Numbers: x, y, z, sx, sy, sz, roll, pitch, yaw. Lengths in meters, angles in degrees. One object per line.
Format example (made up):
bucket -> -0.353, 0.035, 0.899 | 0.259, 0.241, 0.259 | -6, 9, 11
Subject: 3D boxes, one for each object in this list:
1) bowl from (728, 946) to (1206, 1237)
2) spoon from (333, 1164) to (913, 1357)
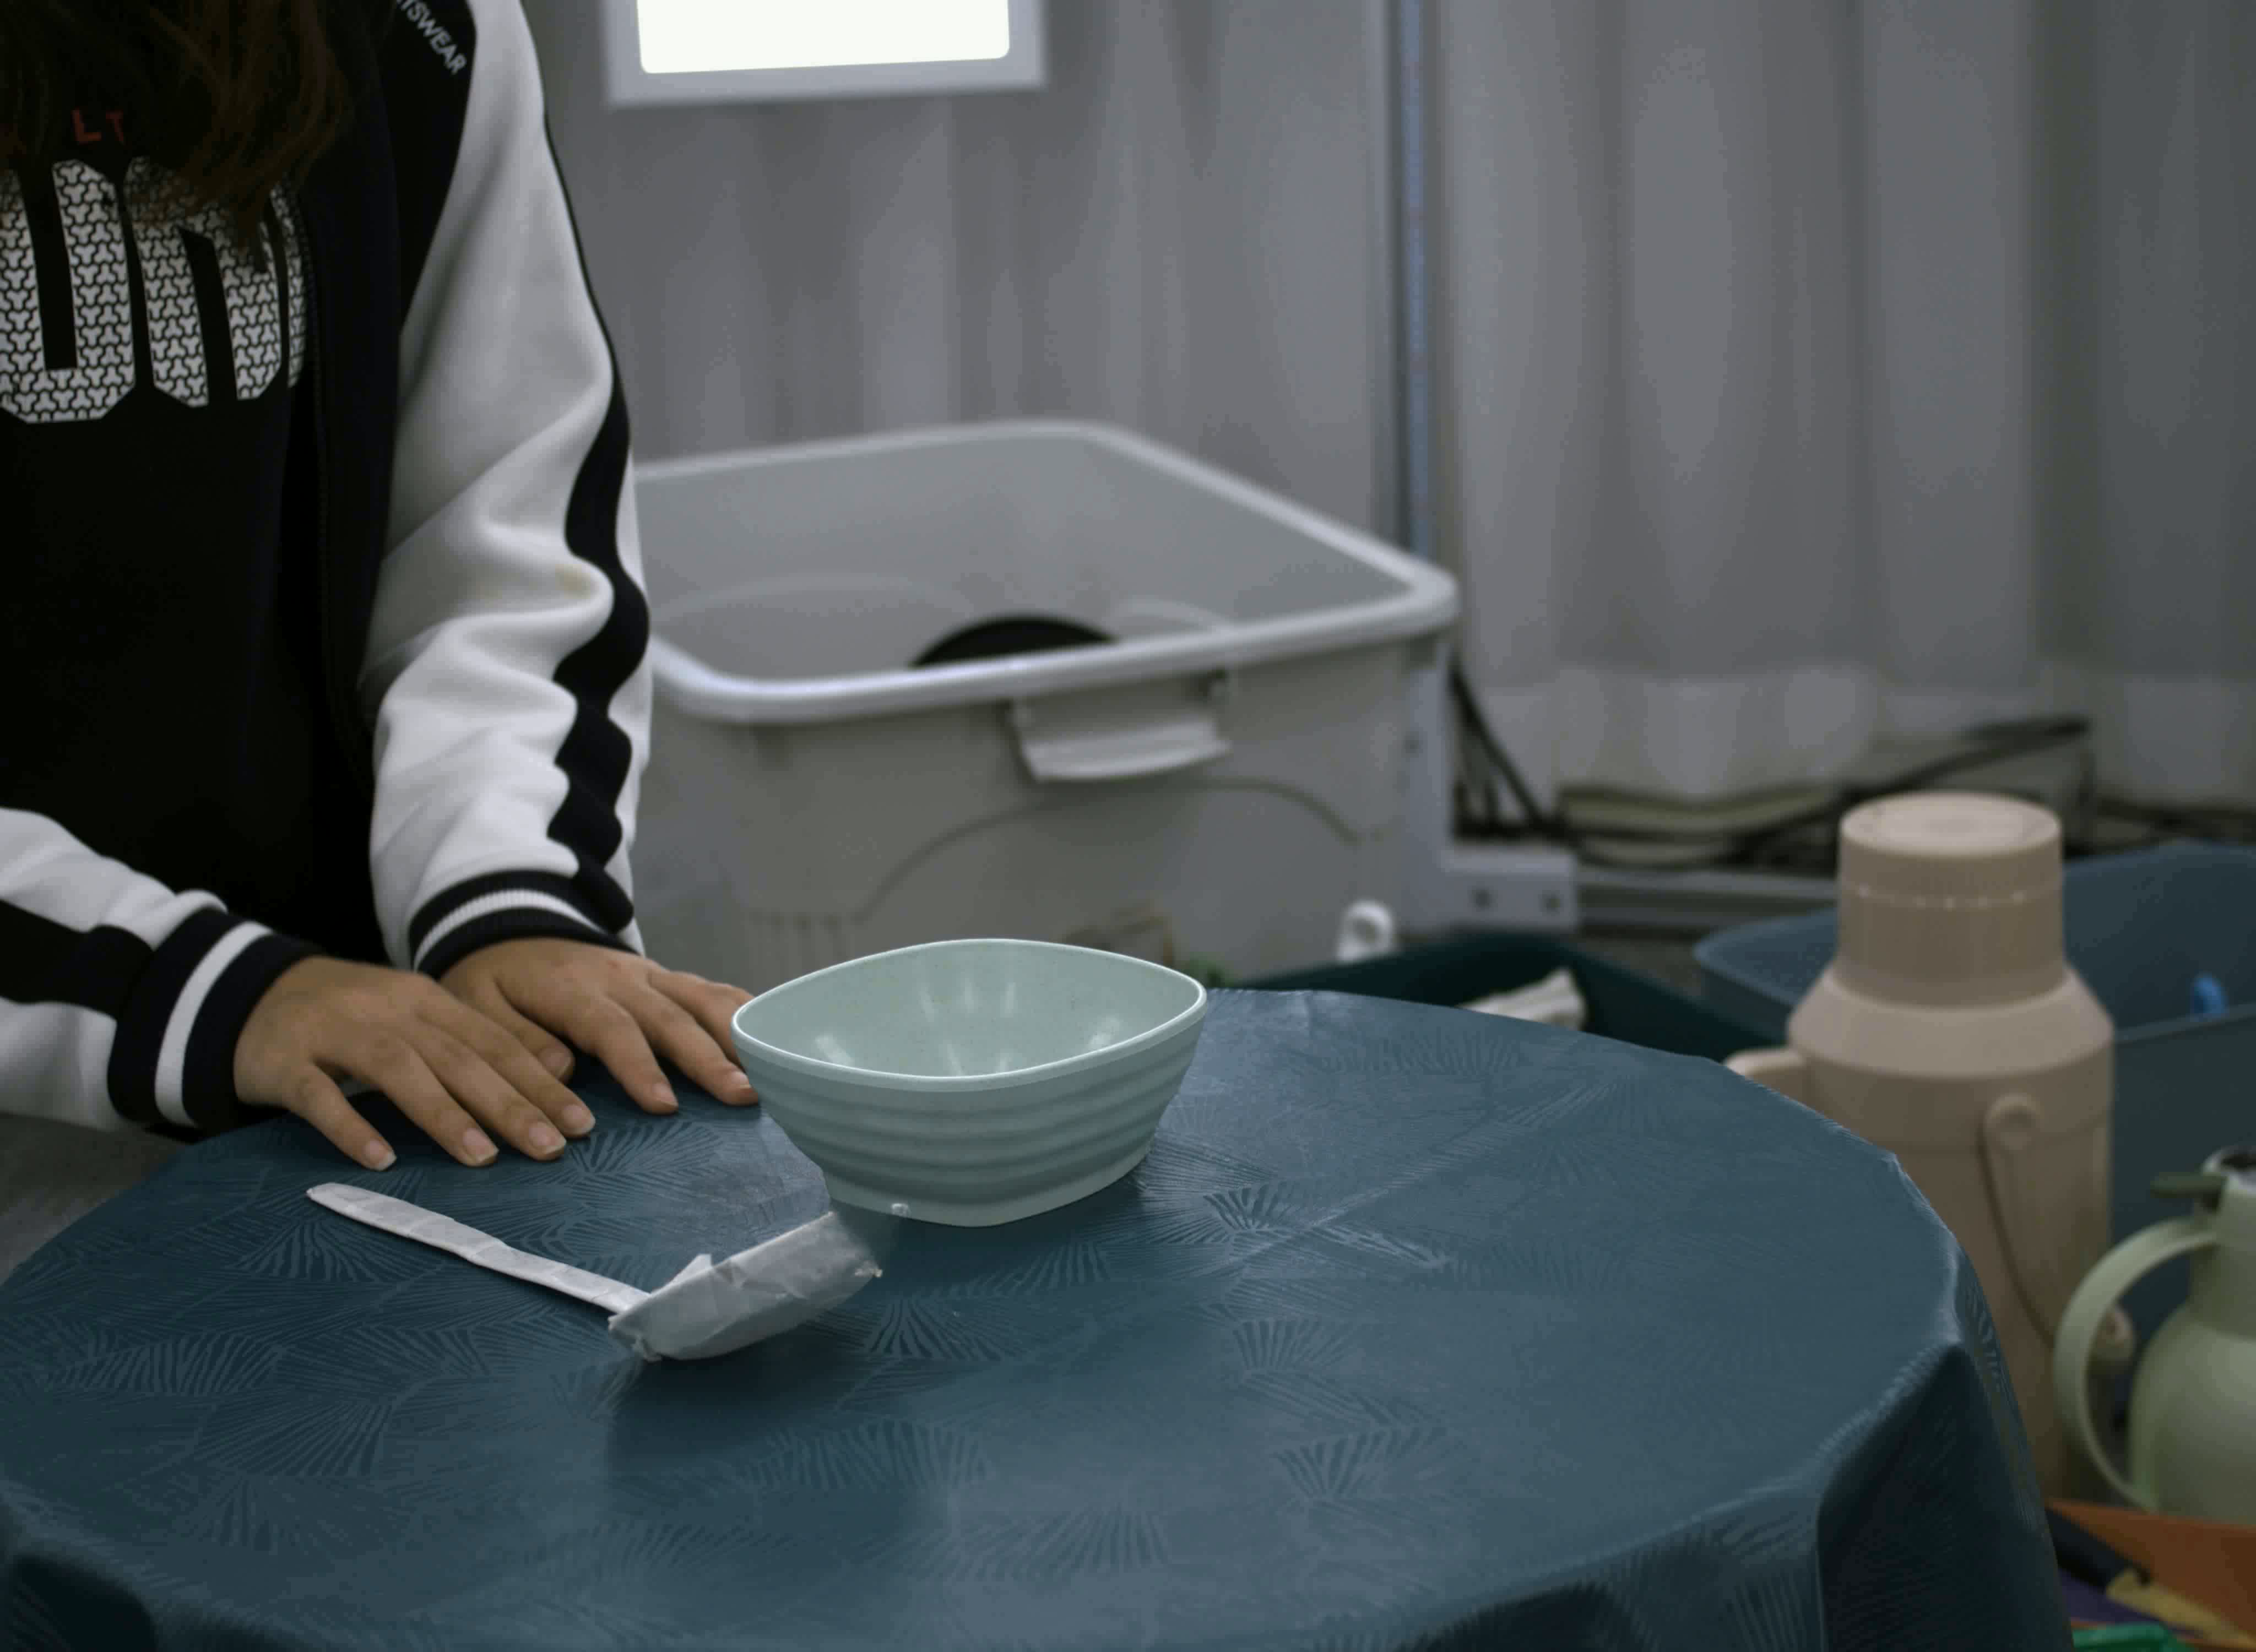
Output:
bowl -> -0.049, 0.087, 1.729 | 0.151, 0.058, 0.152 | -2, 15, 0
spoon -> -0.164, 0.111, 1.651 | 0.100, 0.059, 0.279 | -7, 15, -36
